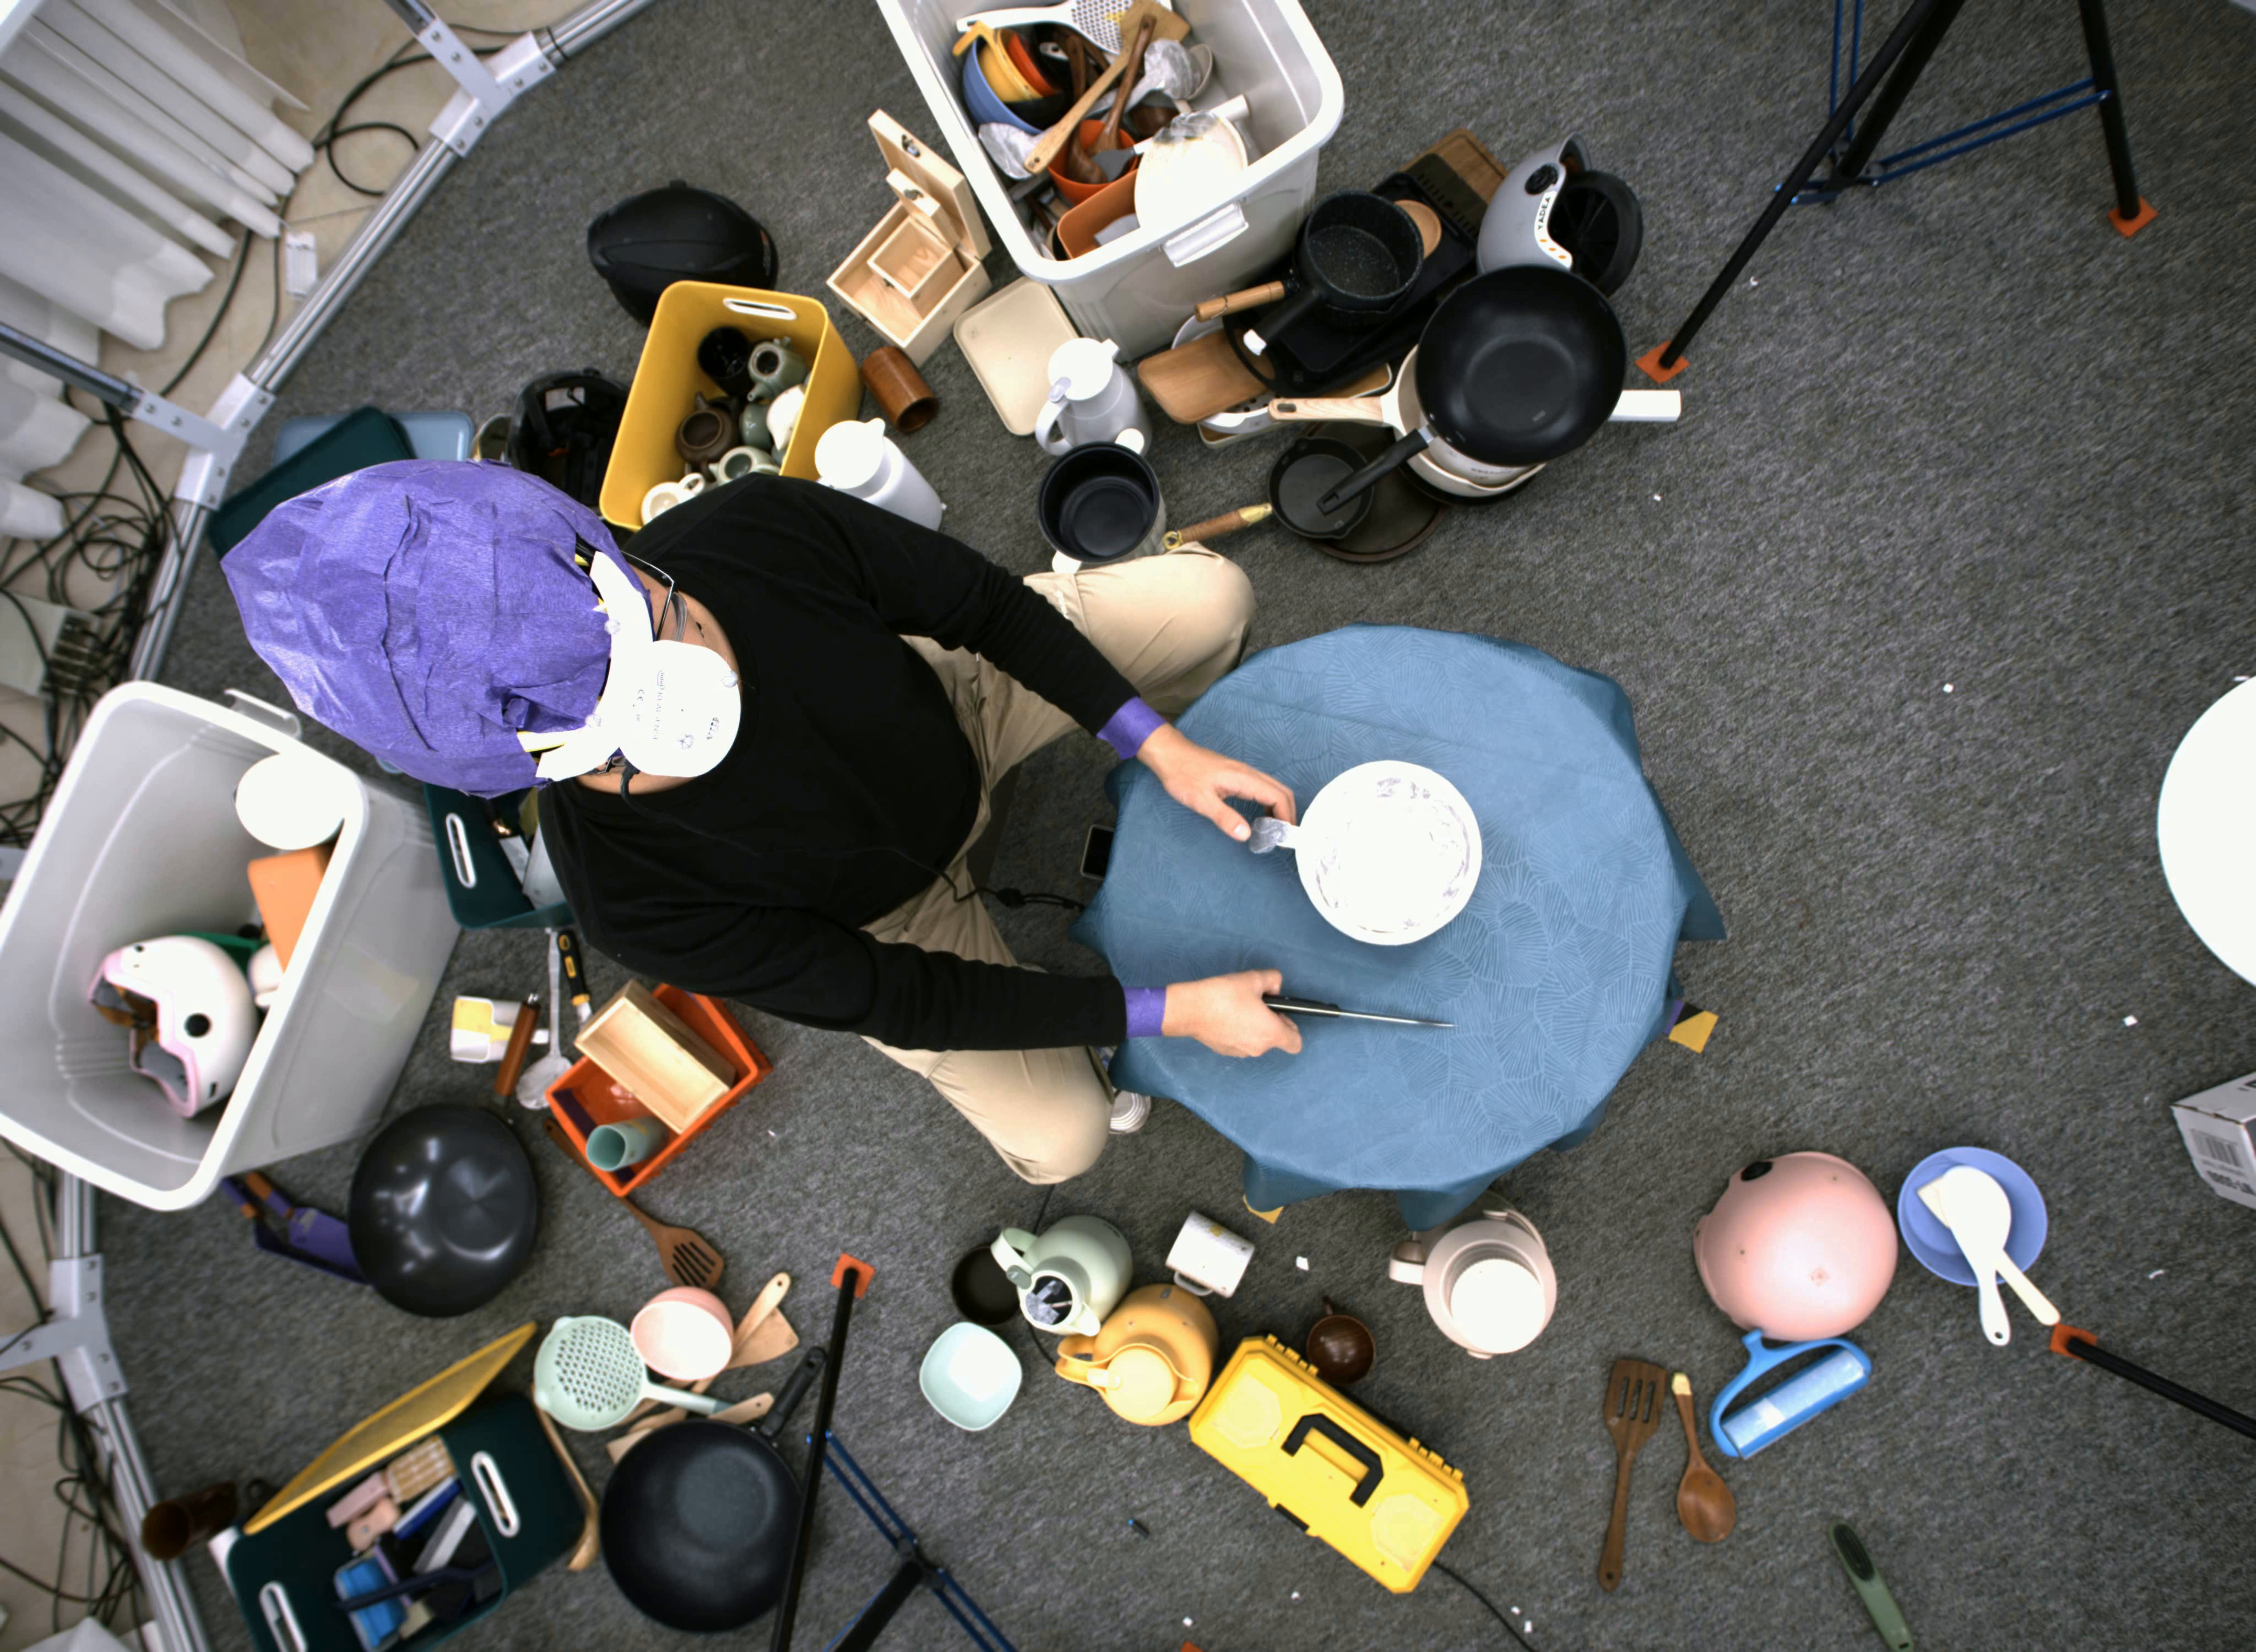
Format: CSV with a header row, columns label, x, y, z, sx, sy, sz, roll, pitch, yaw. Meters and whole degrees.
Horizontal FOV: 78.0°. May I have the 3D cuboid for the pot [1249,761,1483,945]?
label,x,y,z,sx,sy,sz,roll,pitch,yaw
pot,0.236,0.026,1.398,0.234,0.137,0.178,10,87,10

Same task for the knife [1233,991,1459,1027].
label,x,y,z,sx,sy,sz,roll,pitch,yaw
knife,0.228,0.193,1.441,0.238,0.024,0.016,7,103,1
